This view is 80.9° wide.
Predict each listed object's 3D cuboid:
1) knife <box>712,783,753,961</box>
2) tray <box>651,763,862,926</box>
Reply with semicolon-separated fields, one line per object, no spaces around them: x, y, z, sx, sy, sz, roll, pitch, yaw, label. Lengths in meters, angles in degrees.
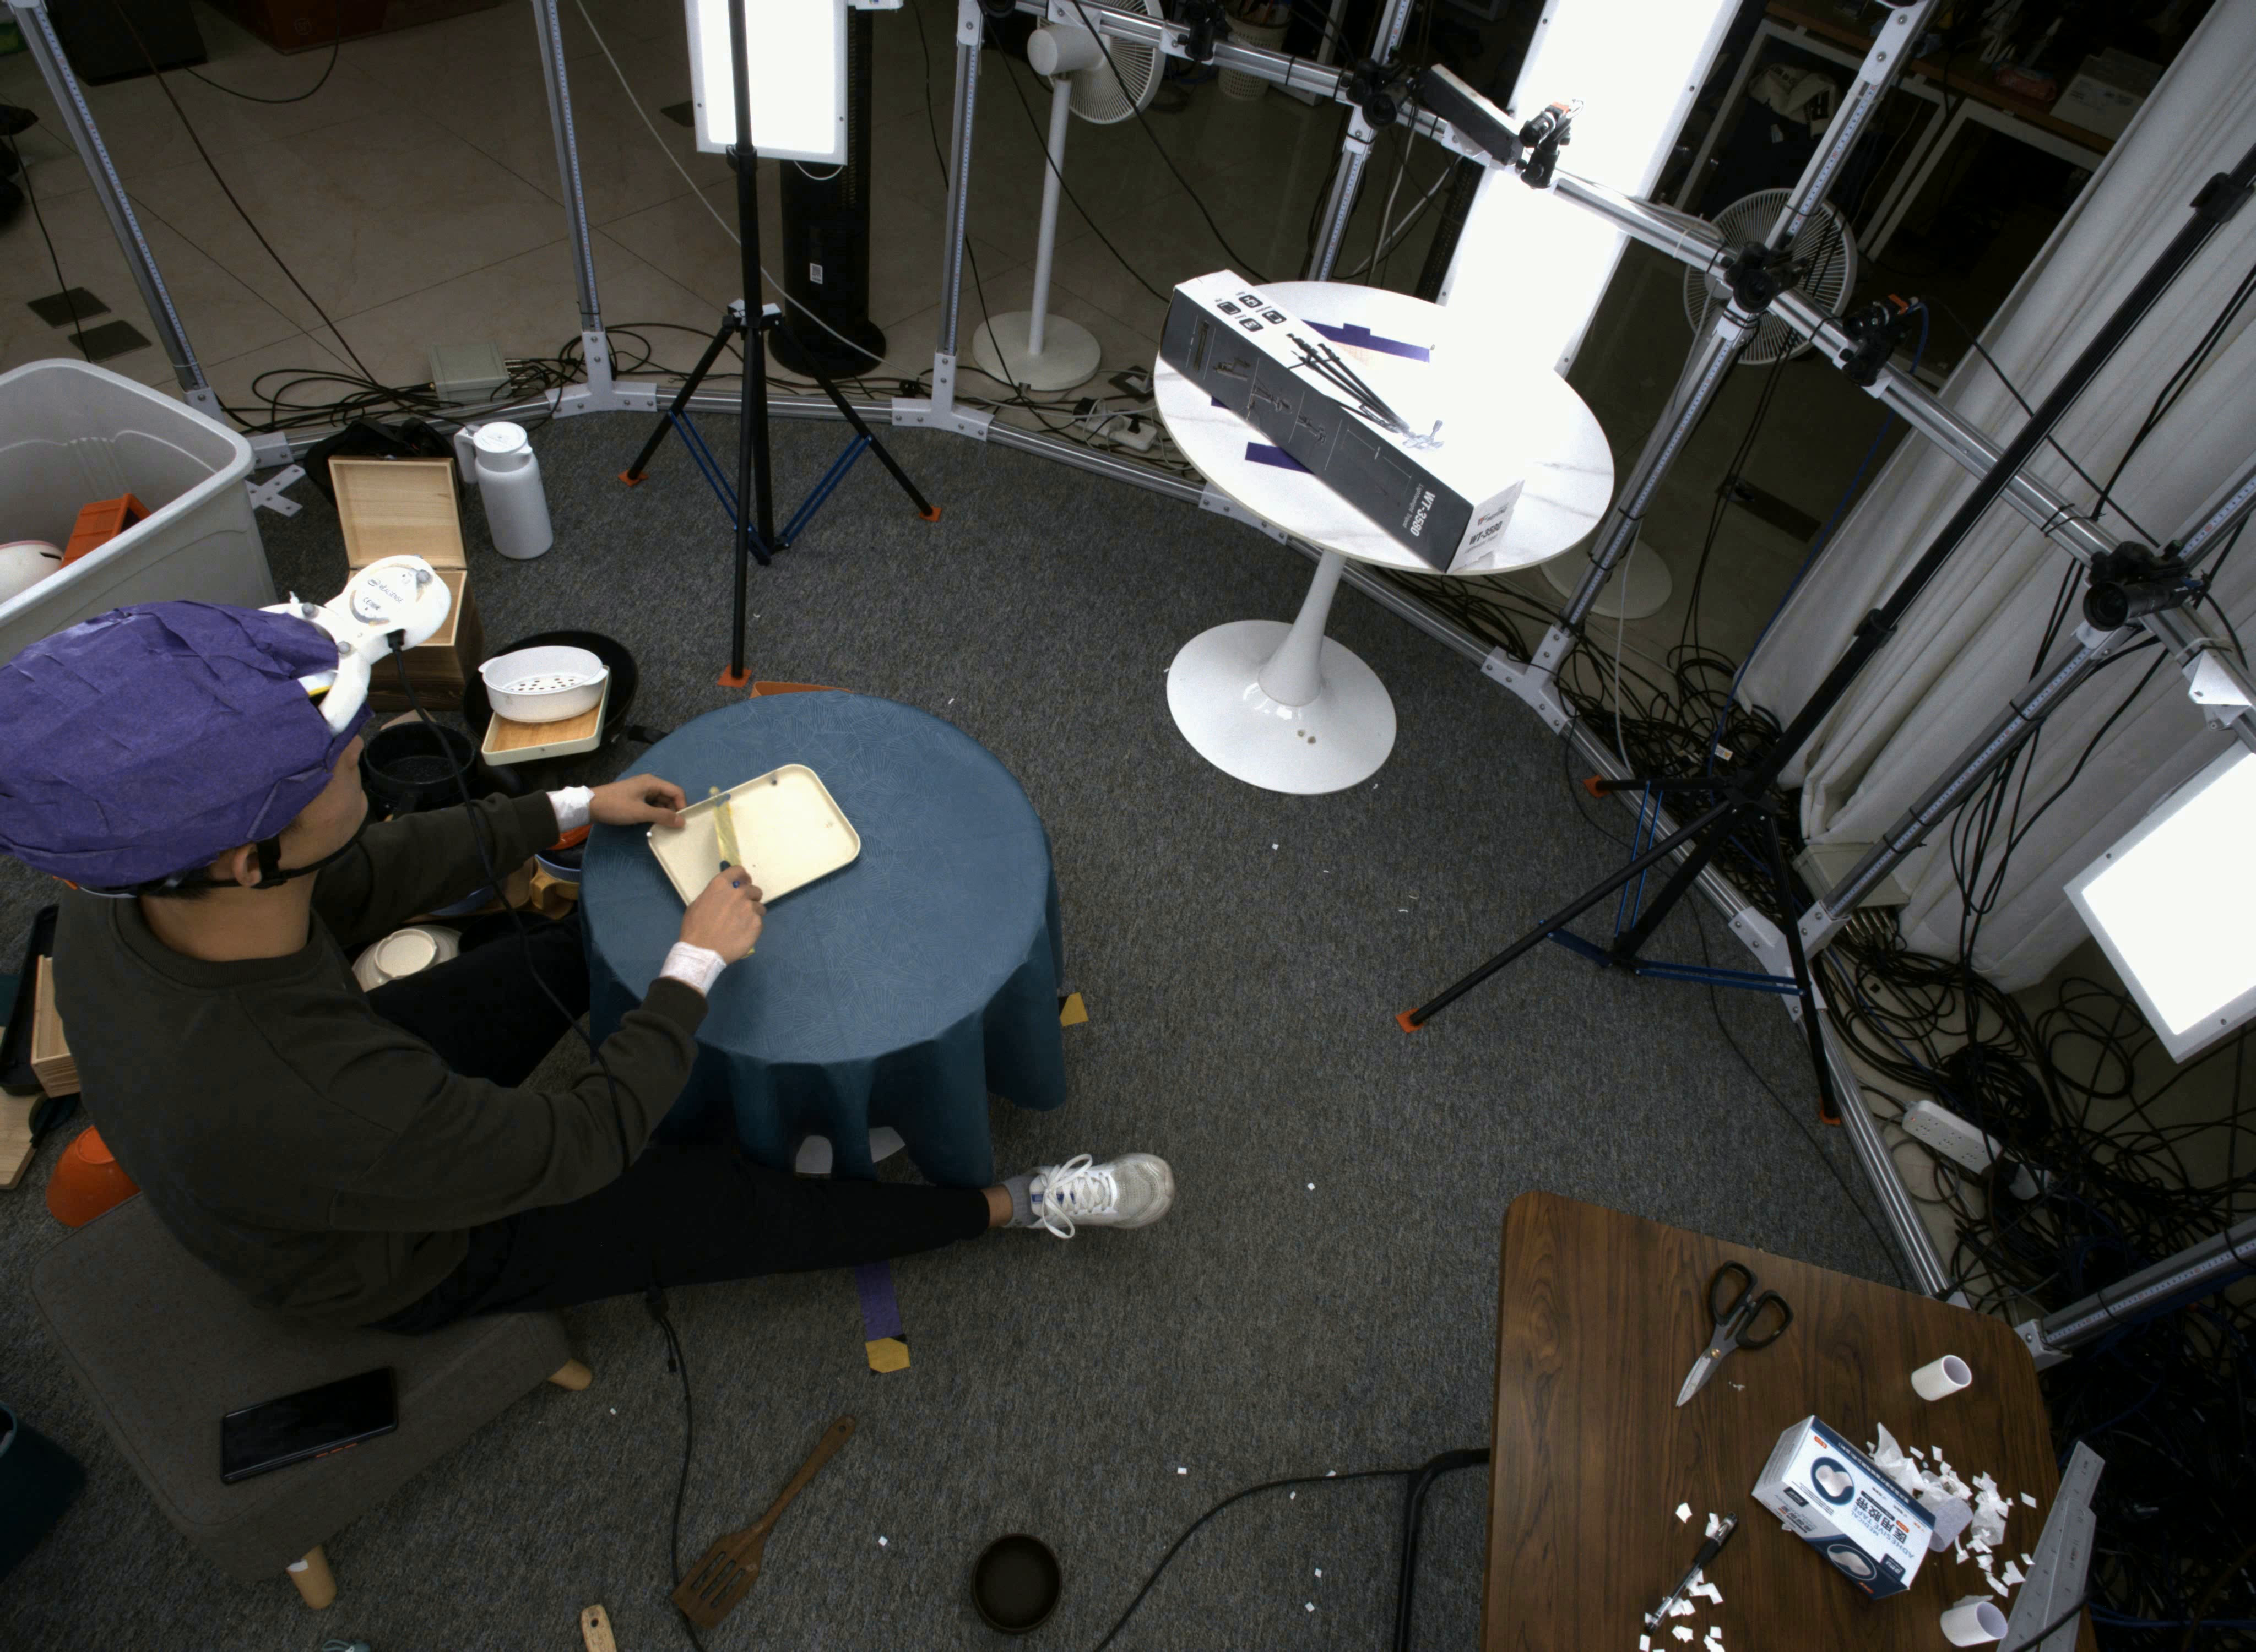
-0.483;0.052;1.589;0.027;0.084;0.281;-21;53;0;knife
-0.482;0.021;1.682;0.240;0.017;0.169;-28;73;-30;tray
